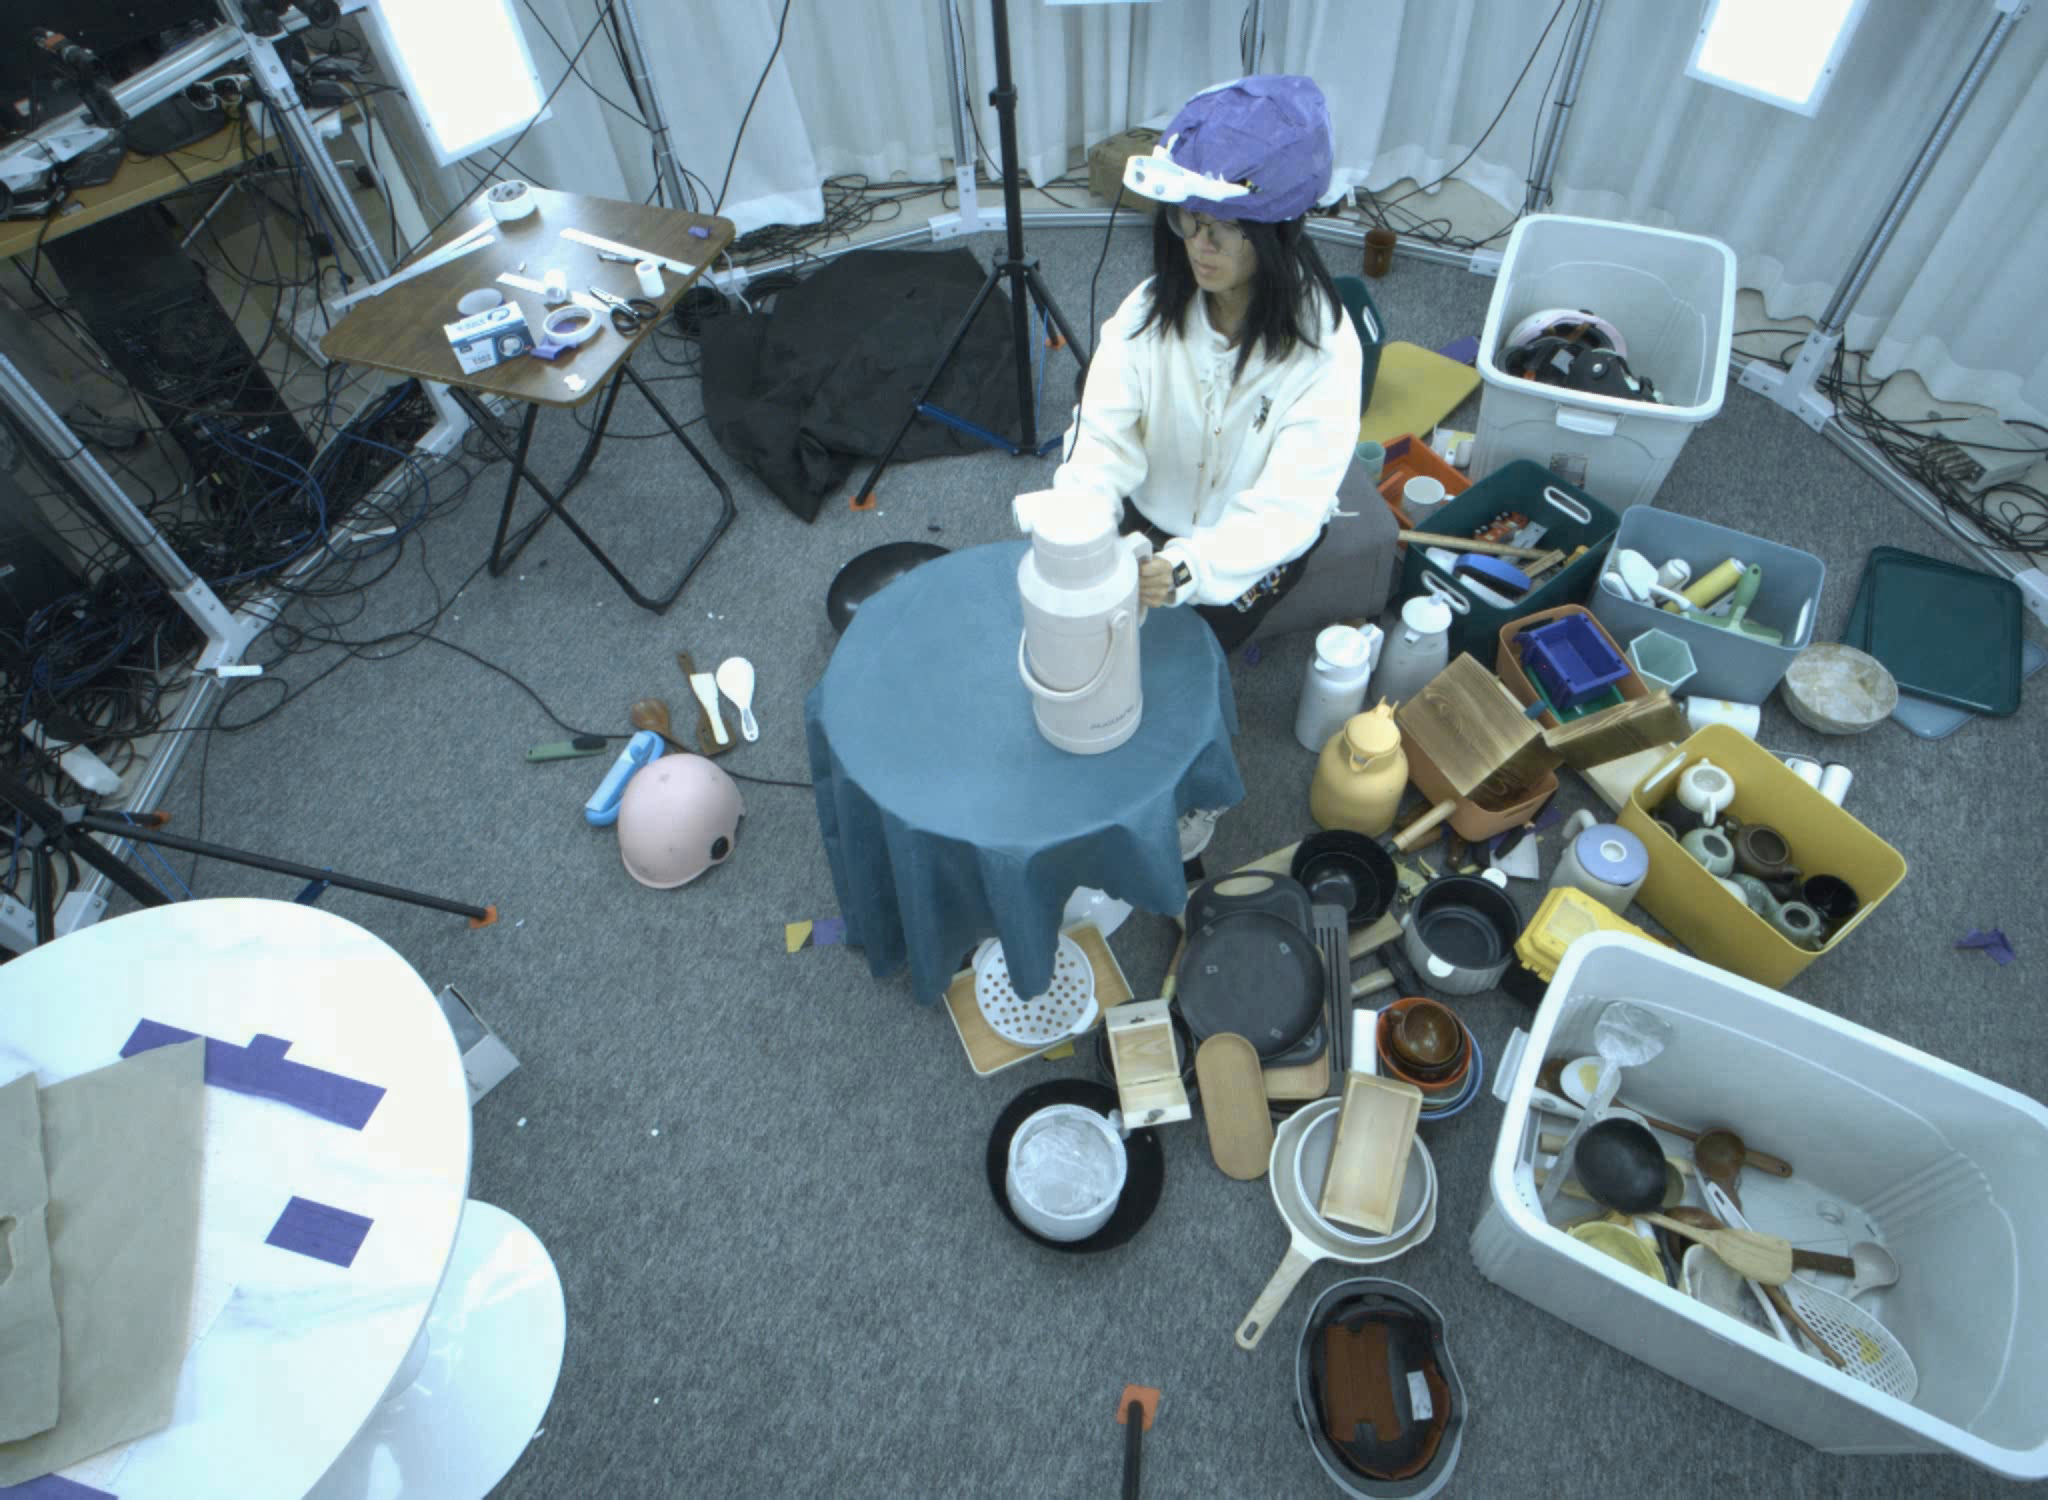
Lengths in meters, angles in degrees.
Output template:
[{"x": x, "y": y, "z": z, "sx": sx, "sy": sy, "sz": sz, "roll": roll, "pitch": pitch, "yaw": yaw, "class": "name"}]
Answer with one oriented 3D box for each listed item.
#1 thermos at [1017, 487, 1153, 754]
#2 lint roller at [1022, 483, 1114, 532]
[{"x": 0.088, "y": -0.178, "z": 1.663, "sx": 0.208, "sy": 0.411, "sz": 0.172, "roll": -35, "pitch": 59, "yaw": -18, "class": "thermos"}, {"x": 0.047, "y": -0.317, "z": 1.677, "sx": 0.117, "sy": 0.196, "sz": 0.048, "roll": -15, "pitch": 92, "yaw": -10, "class": "lint roller"}]
